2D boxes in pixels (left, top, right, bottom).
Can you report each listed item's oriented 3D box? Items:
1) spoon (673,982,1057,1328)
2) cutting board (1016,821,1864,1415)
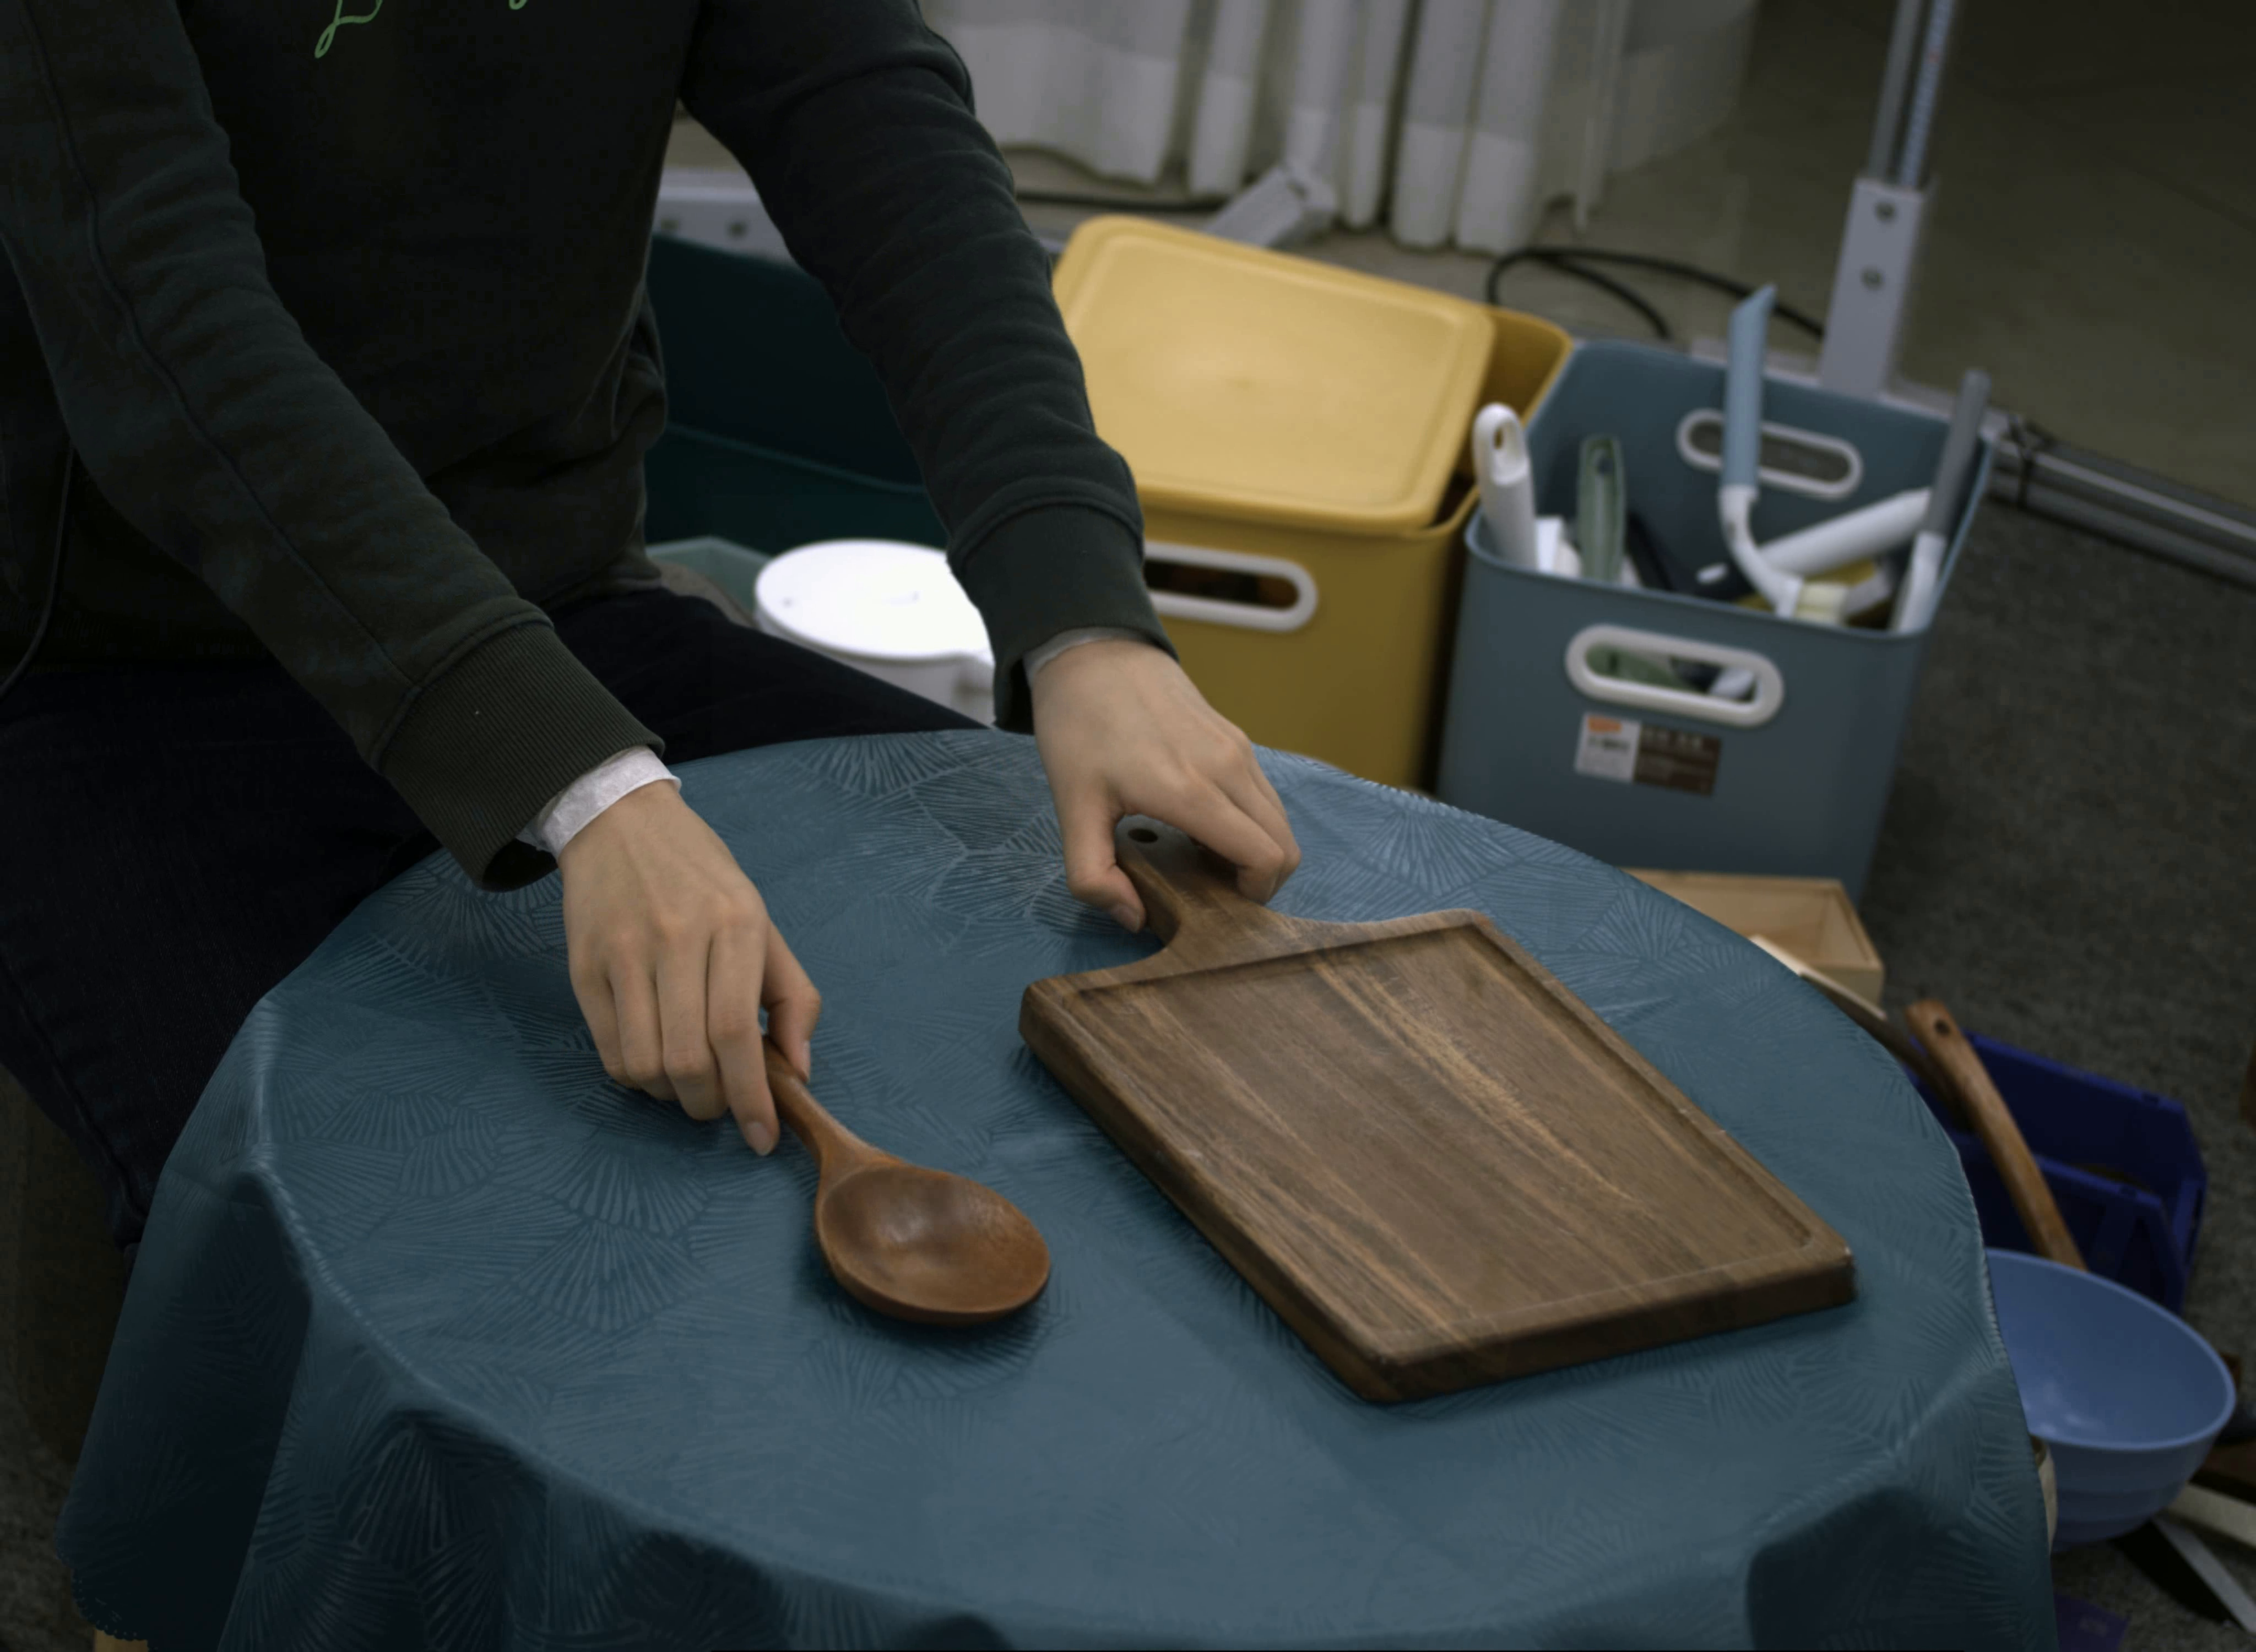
[{"bbox_3d":[-0.096,0.110,1.781,0.075,0.017,0.218,-13,35,-28],"label":"spoon"},{"bbox_3d":[0.080,0.087,1.865,0.200,0.023,0.355,-10,32,-28],"label":"cutting board"}]
